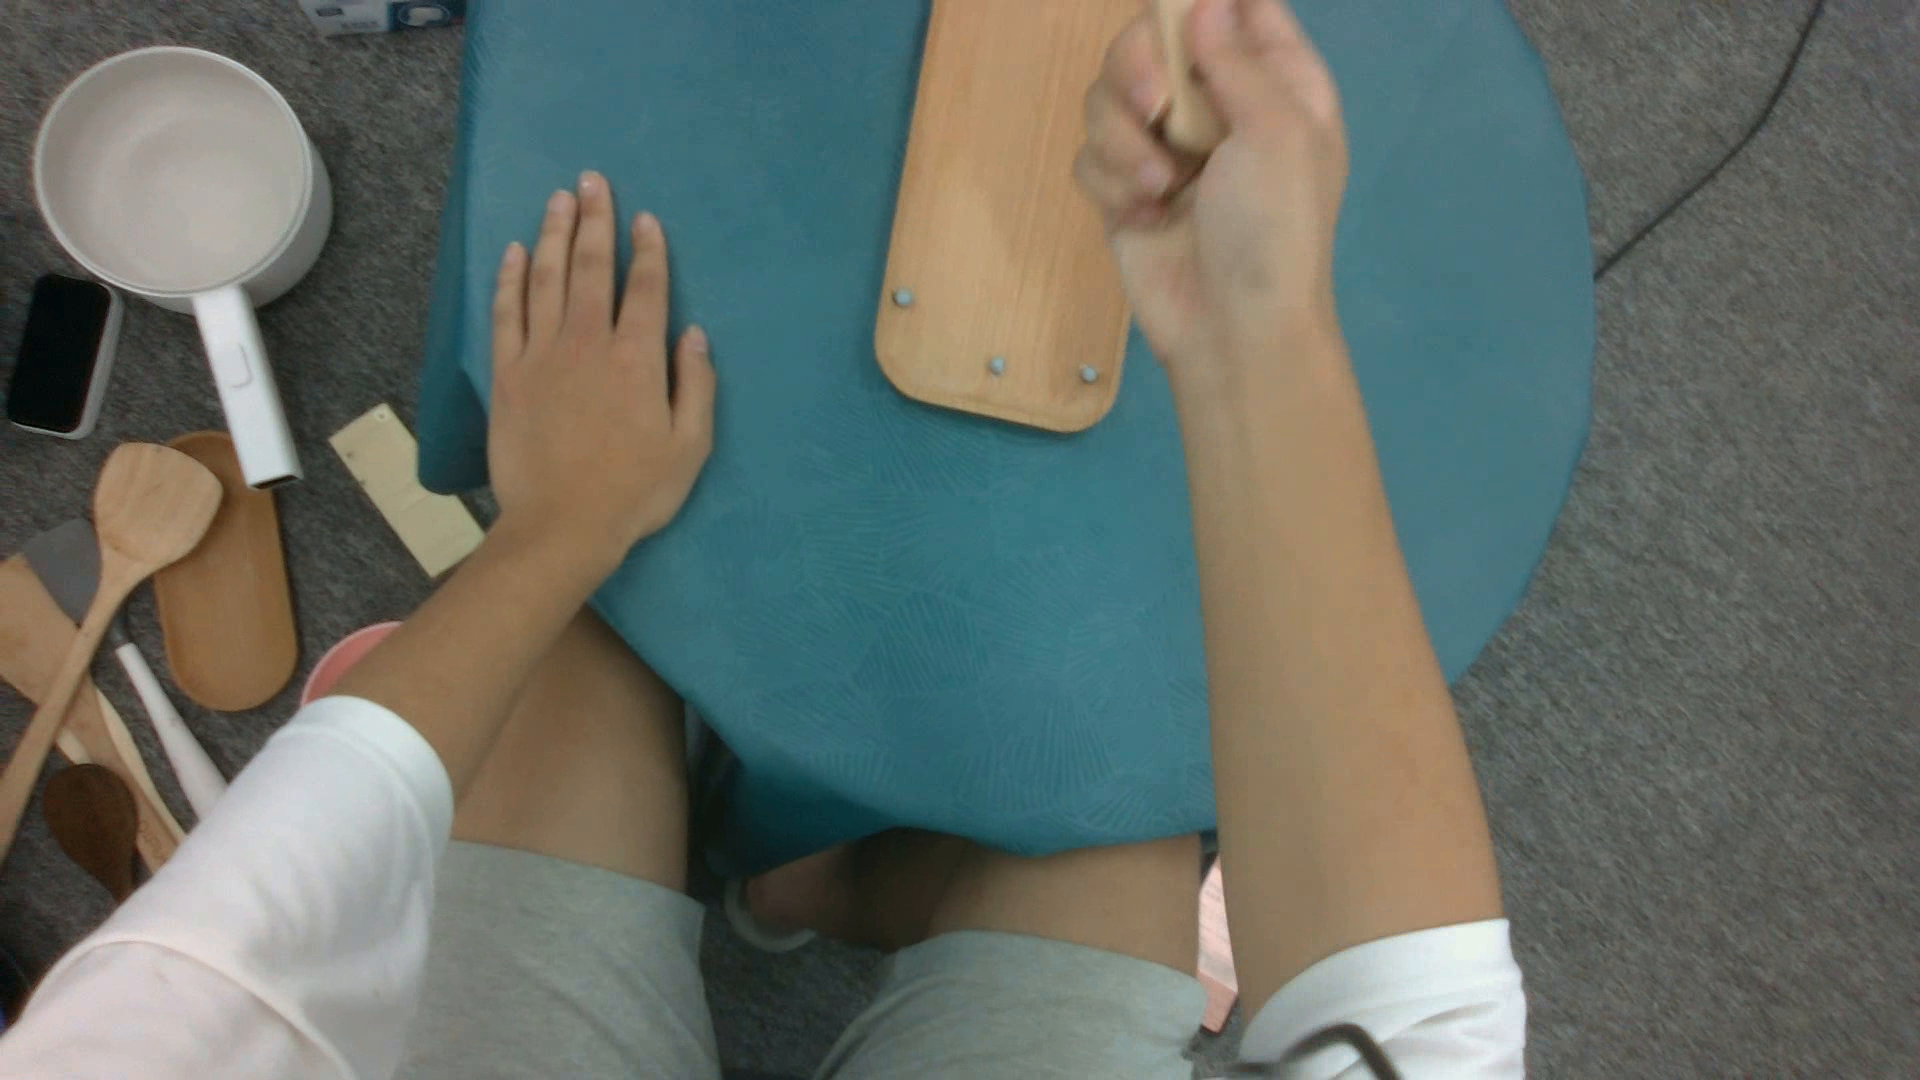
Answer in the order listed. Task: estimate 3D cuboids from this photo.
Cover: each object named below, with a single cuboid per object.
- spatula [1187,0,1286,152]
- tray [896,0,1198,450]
[{"bbox_3d":[0.112,-0.274,0.460,0.072,0.010,0.293,10,89,-22],"label":"spatula"},{"bbox_3d":[0.048,-0.176,0.729,0.130,0.023,0.251,13,81,-9],"label":"tray"}]
